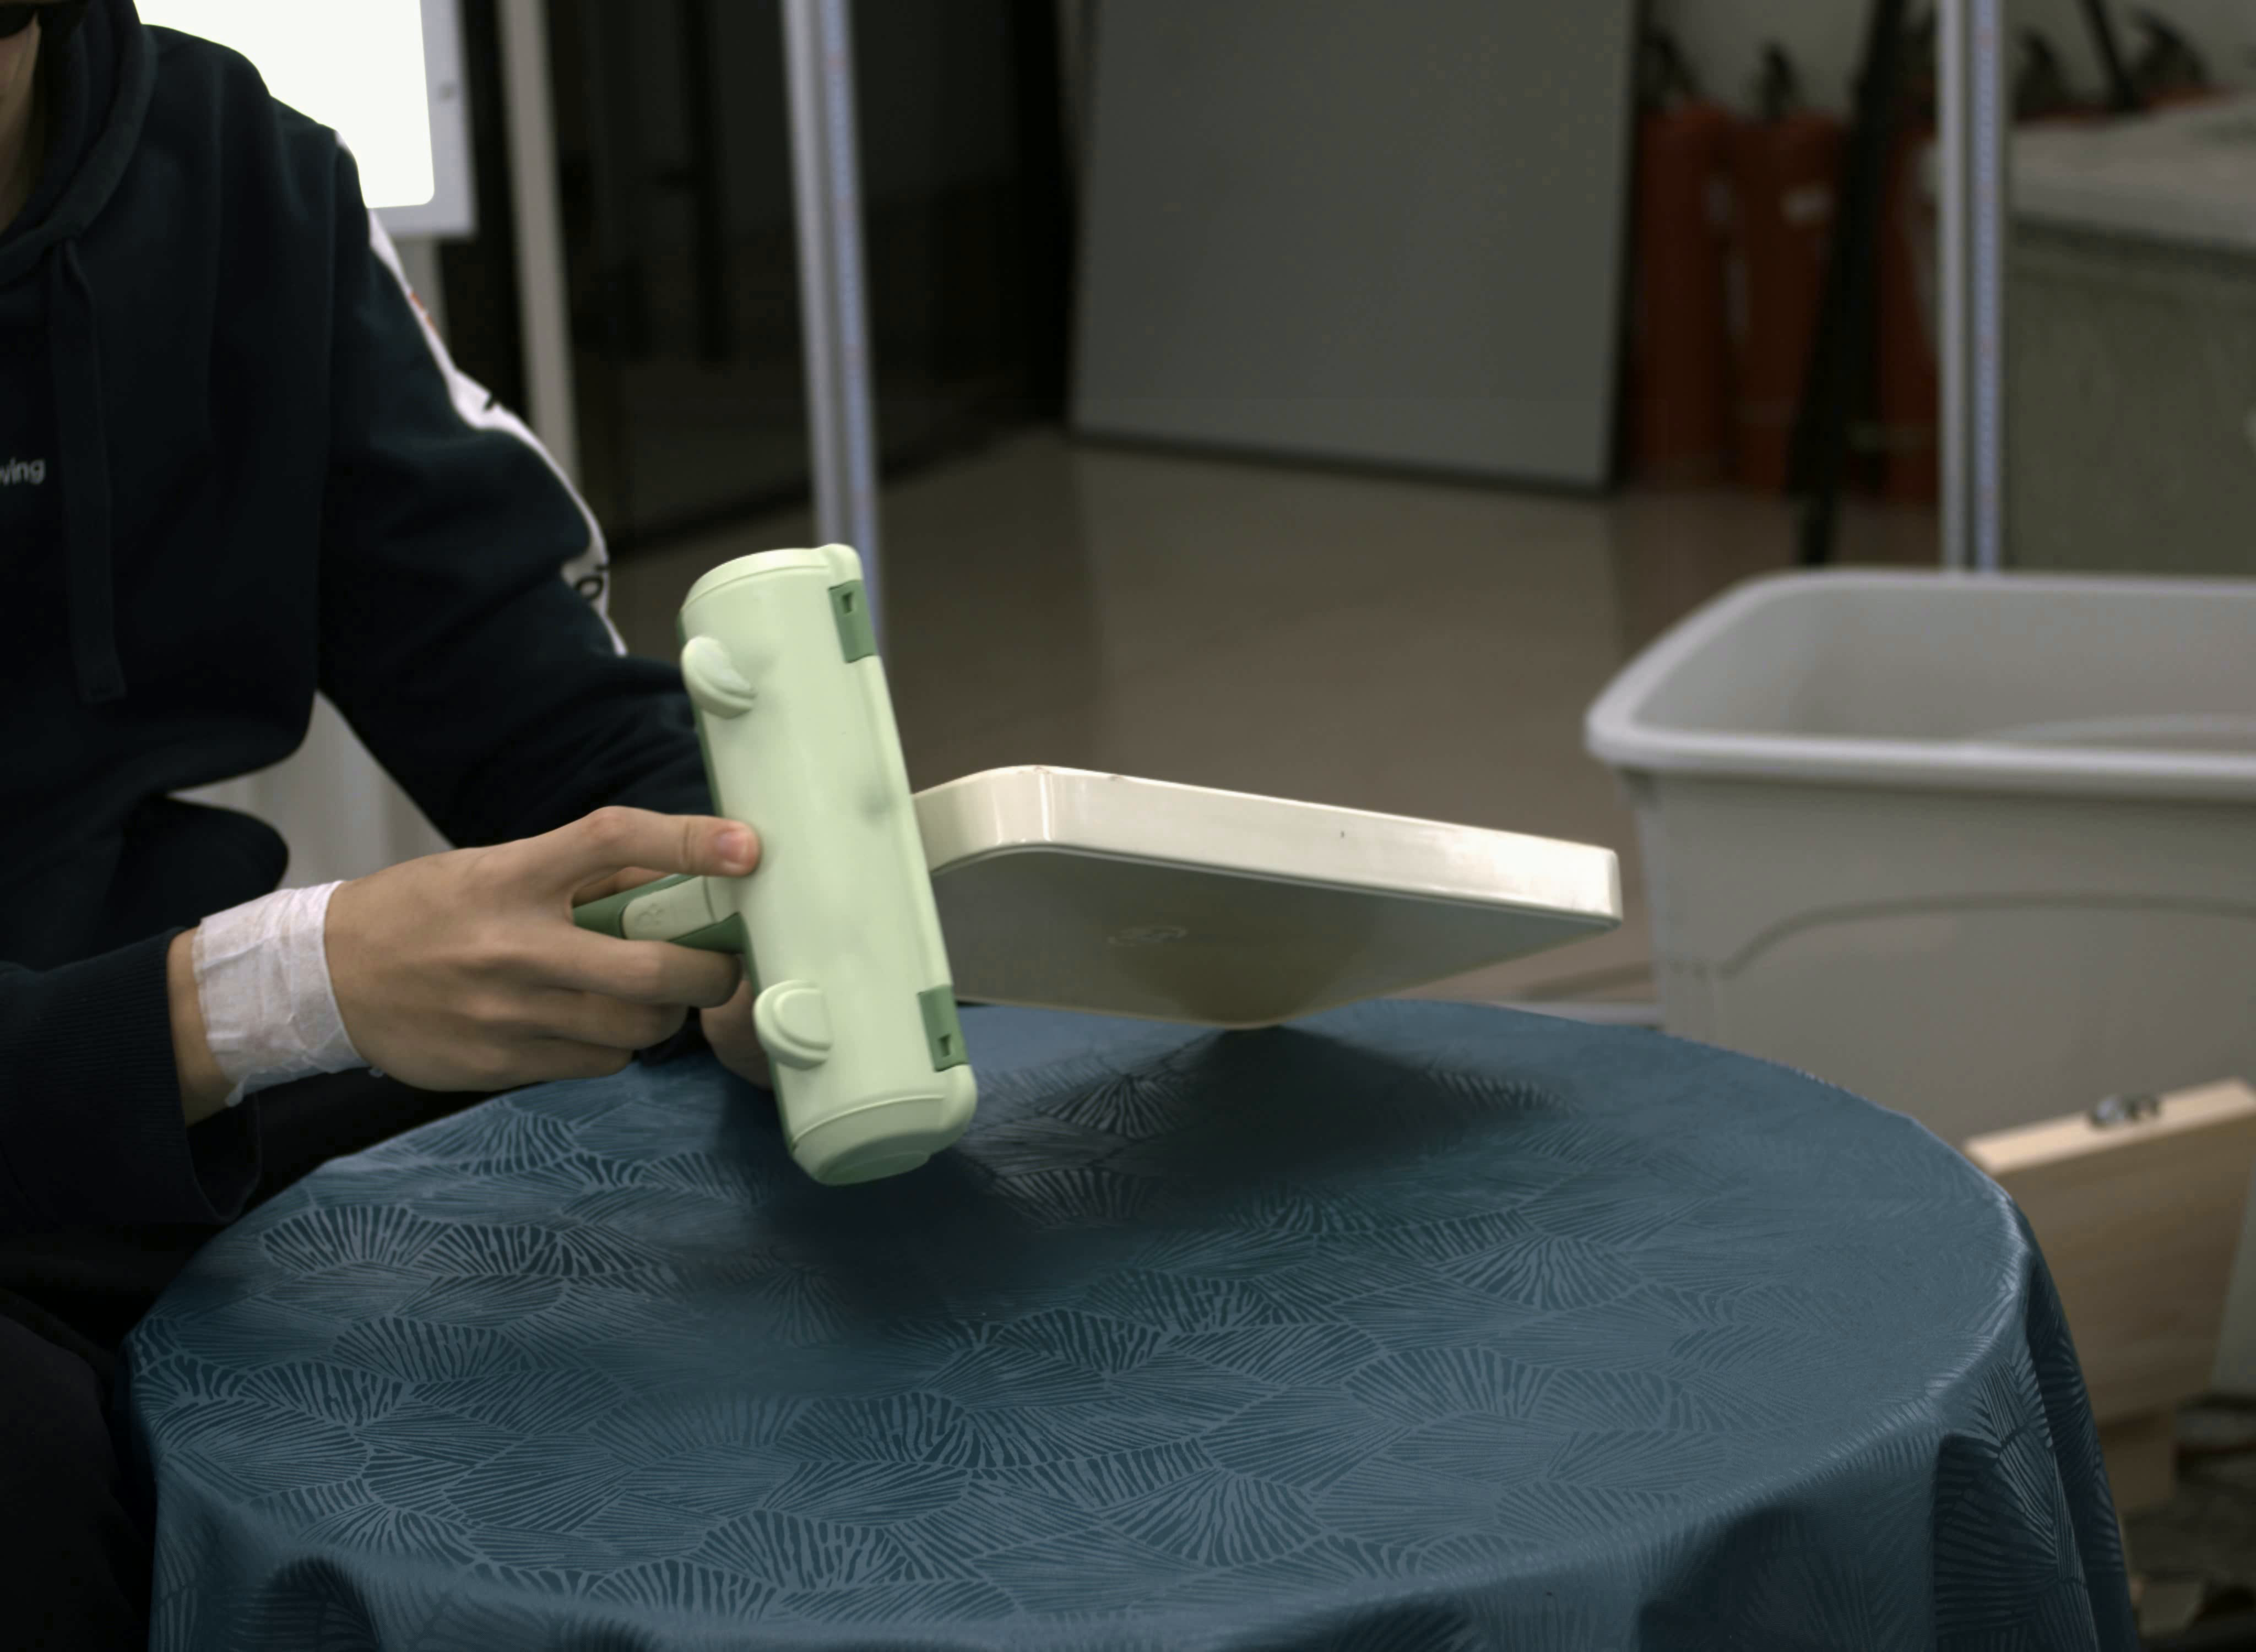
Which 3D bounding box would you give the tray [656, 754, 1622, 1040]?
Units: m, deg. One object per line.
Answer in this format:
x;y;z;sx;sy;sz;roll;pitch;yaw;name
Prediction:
0.005;0.028;1.789;0.293;0.028;0.193;8;-20;-43;tray

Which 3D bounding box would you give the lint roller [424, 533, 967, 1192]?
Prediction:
-0.149;0.027;1.656;0.183;0.201;0.081;-19;-21;16;lint roller
